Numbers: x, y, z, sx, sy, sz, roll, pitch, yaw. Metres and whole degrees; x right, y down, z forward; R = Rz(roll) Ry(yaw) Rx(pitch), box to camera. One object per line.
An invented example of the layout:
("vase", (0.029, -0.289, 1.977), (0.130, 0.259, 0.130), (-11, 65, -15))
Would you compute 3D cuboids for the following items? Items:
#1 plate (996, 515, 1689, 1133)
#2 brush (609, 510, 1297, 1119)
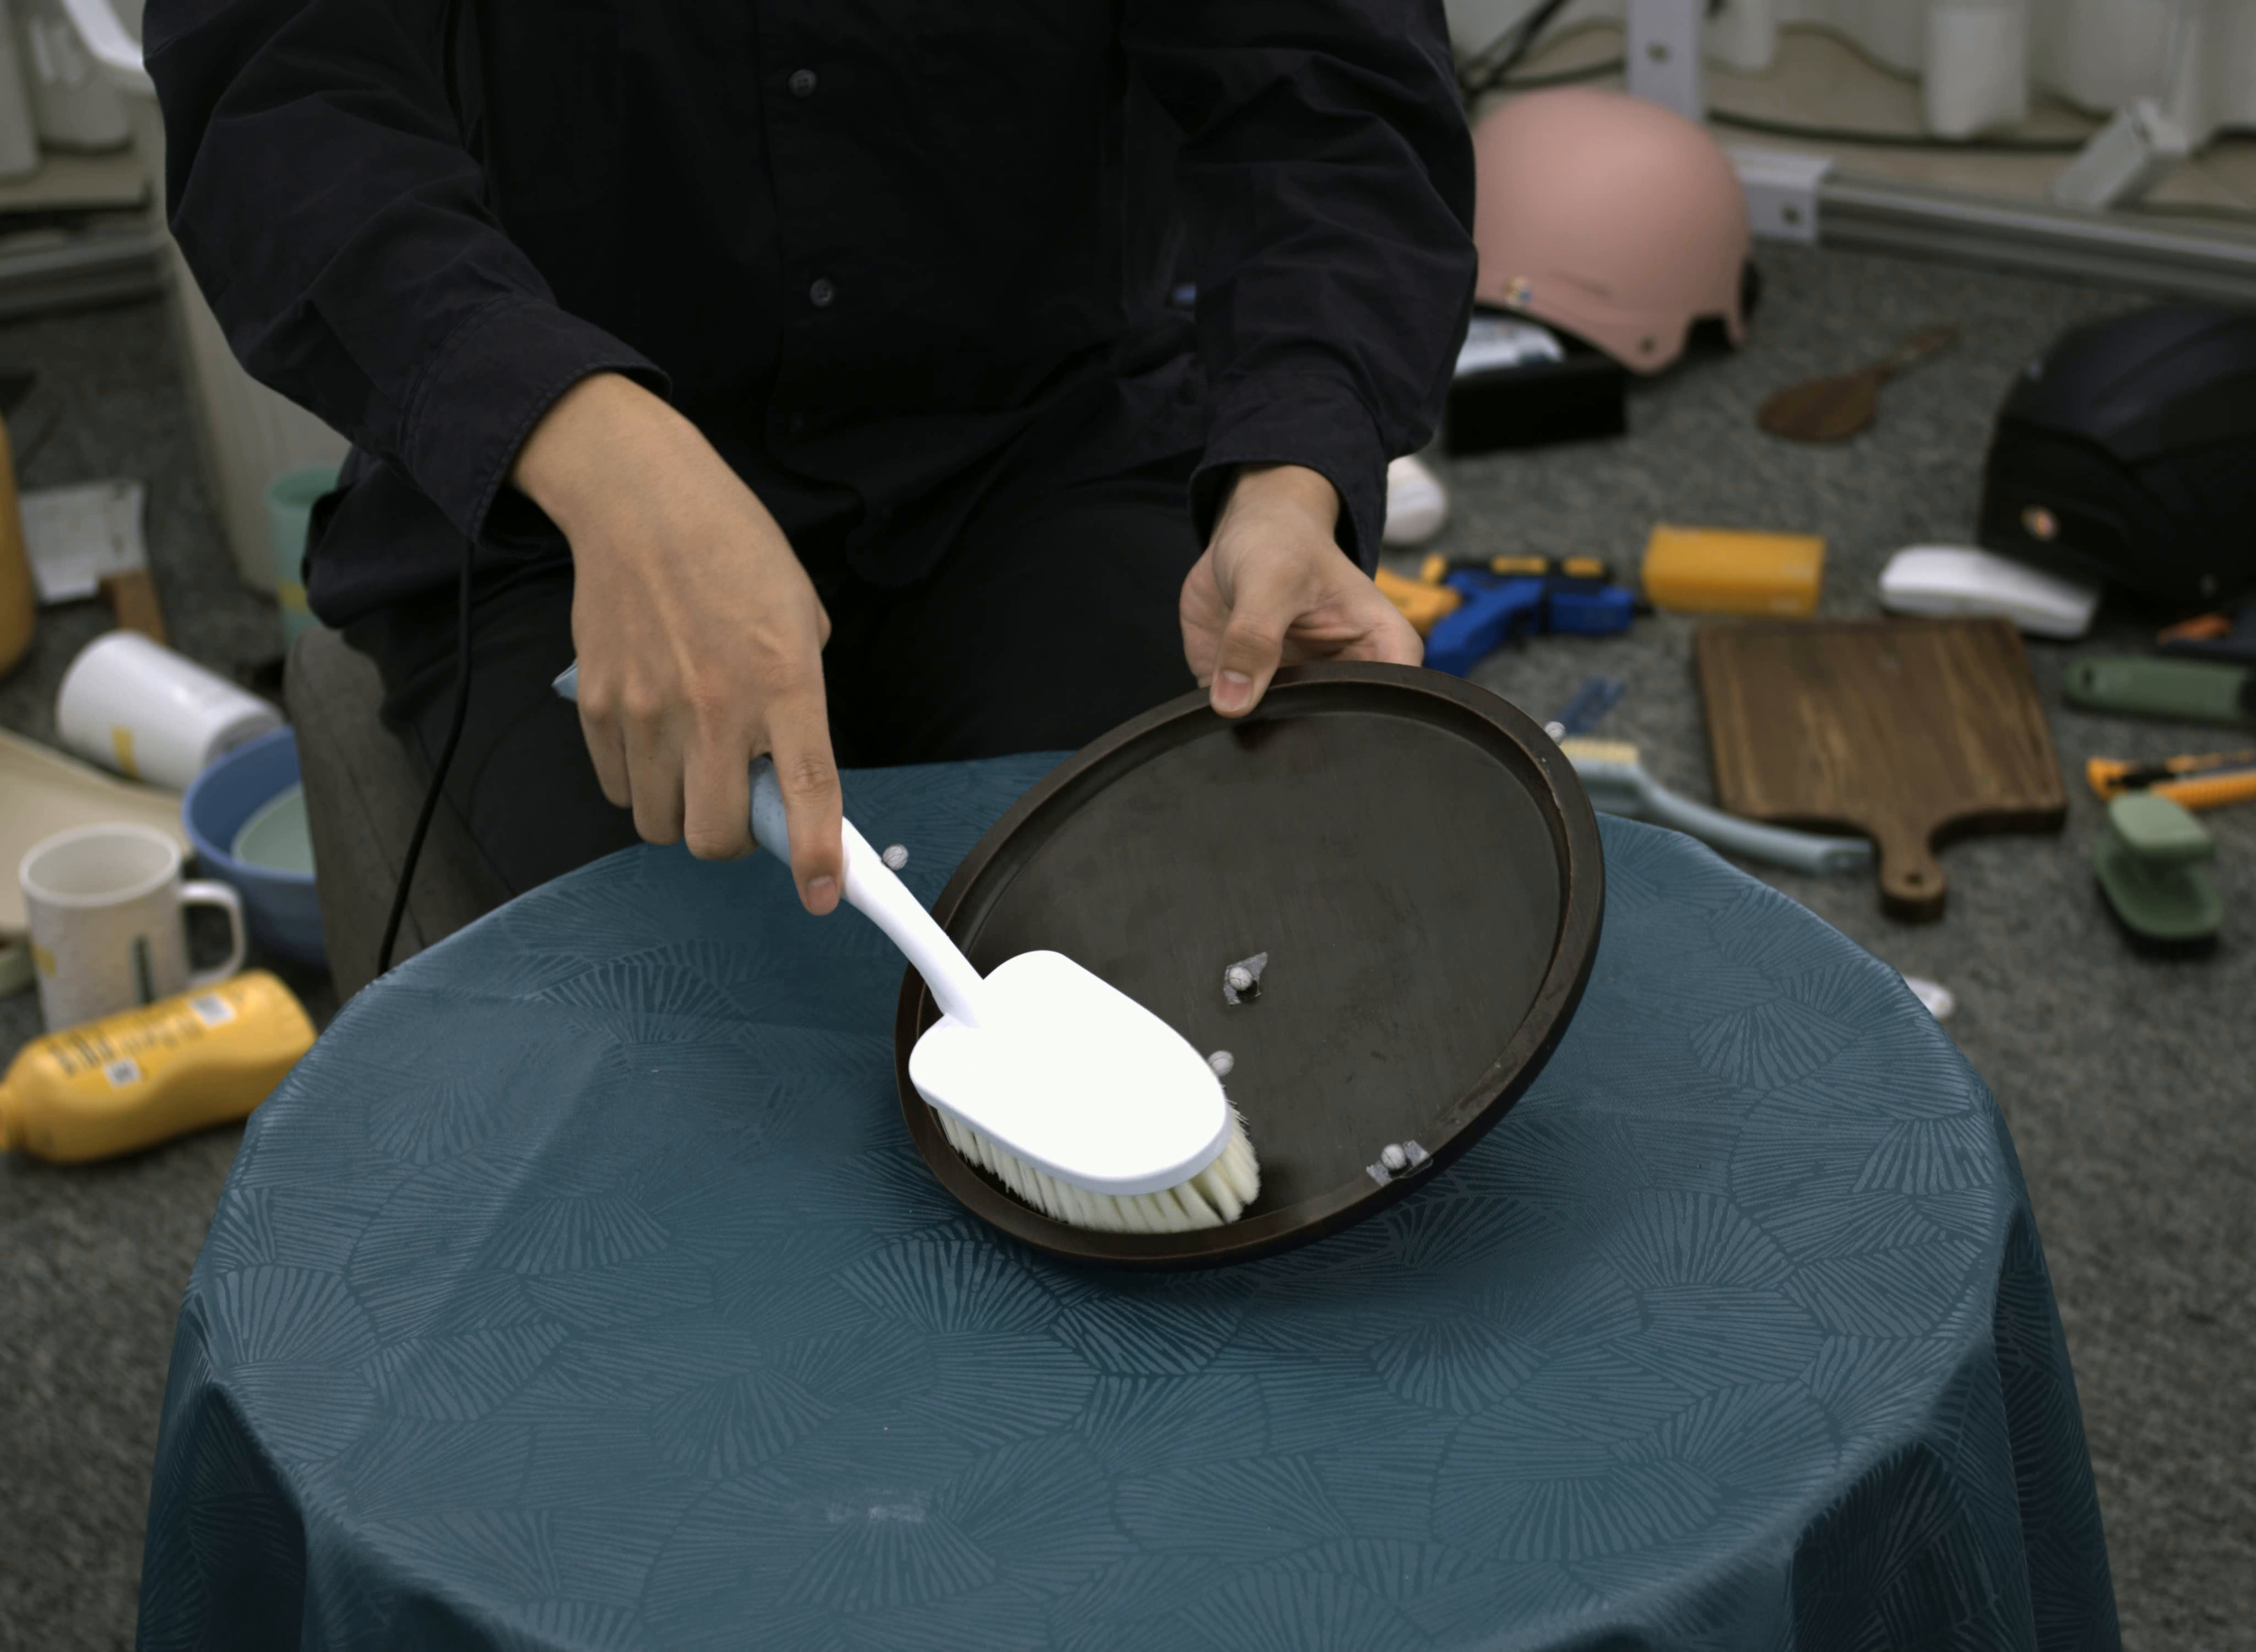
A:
("plate", (0.070, 0.000, 1.888), (0.252, 0.029, 0.260), (-17, 44, 17))
("brush", (-0.058, -0.001, 1.894), (0.084, 0.083, 0.327), (-11, 39, -47))
